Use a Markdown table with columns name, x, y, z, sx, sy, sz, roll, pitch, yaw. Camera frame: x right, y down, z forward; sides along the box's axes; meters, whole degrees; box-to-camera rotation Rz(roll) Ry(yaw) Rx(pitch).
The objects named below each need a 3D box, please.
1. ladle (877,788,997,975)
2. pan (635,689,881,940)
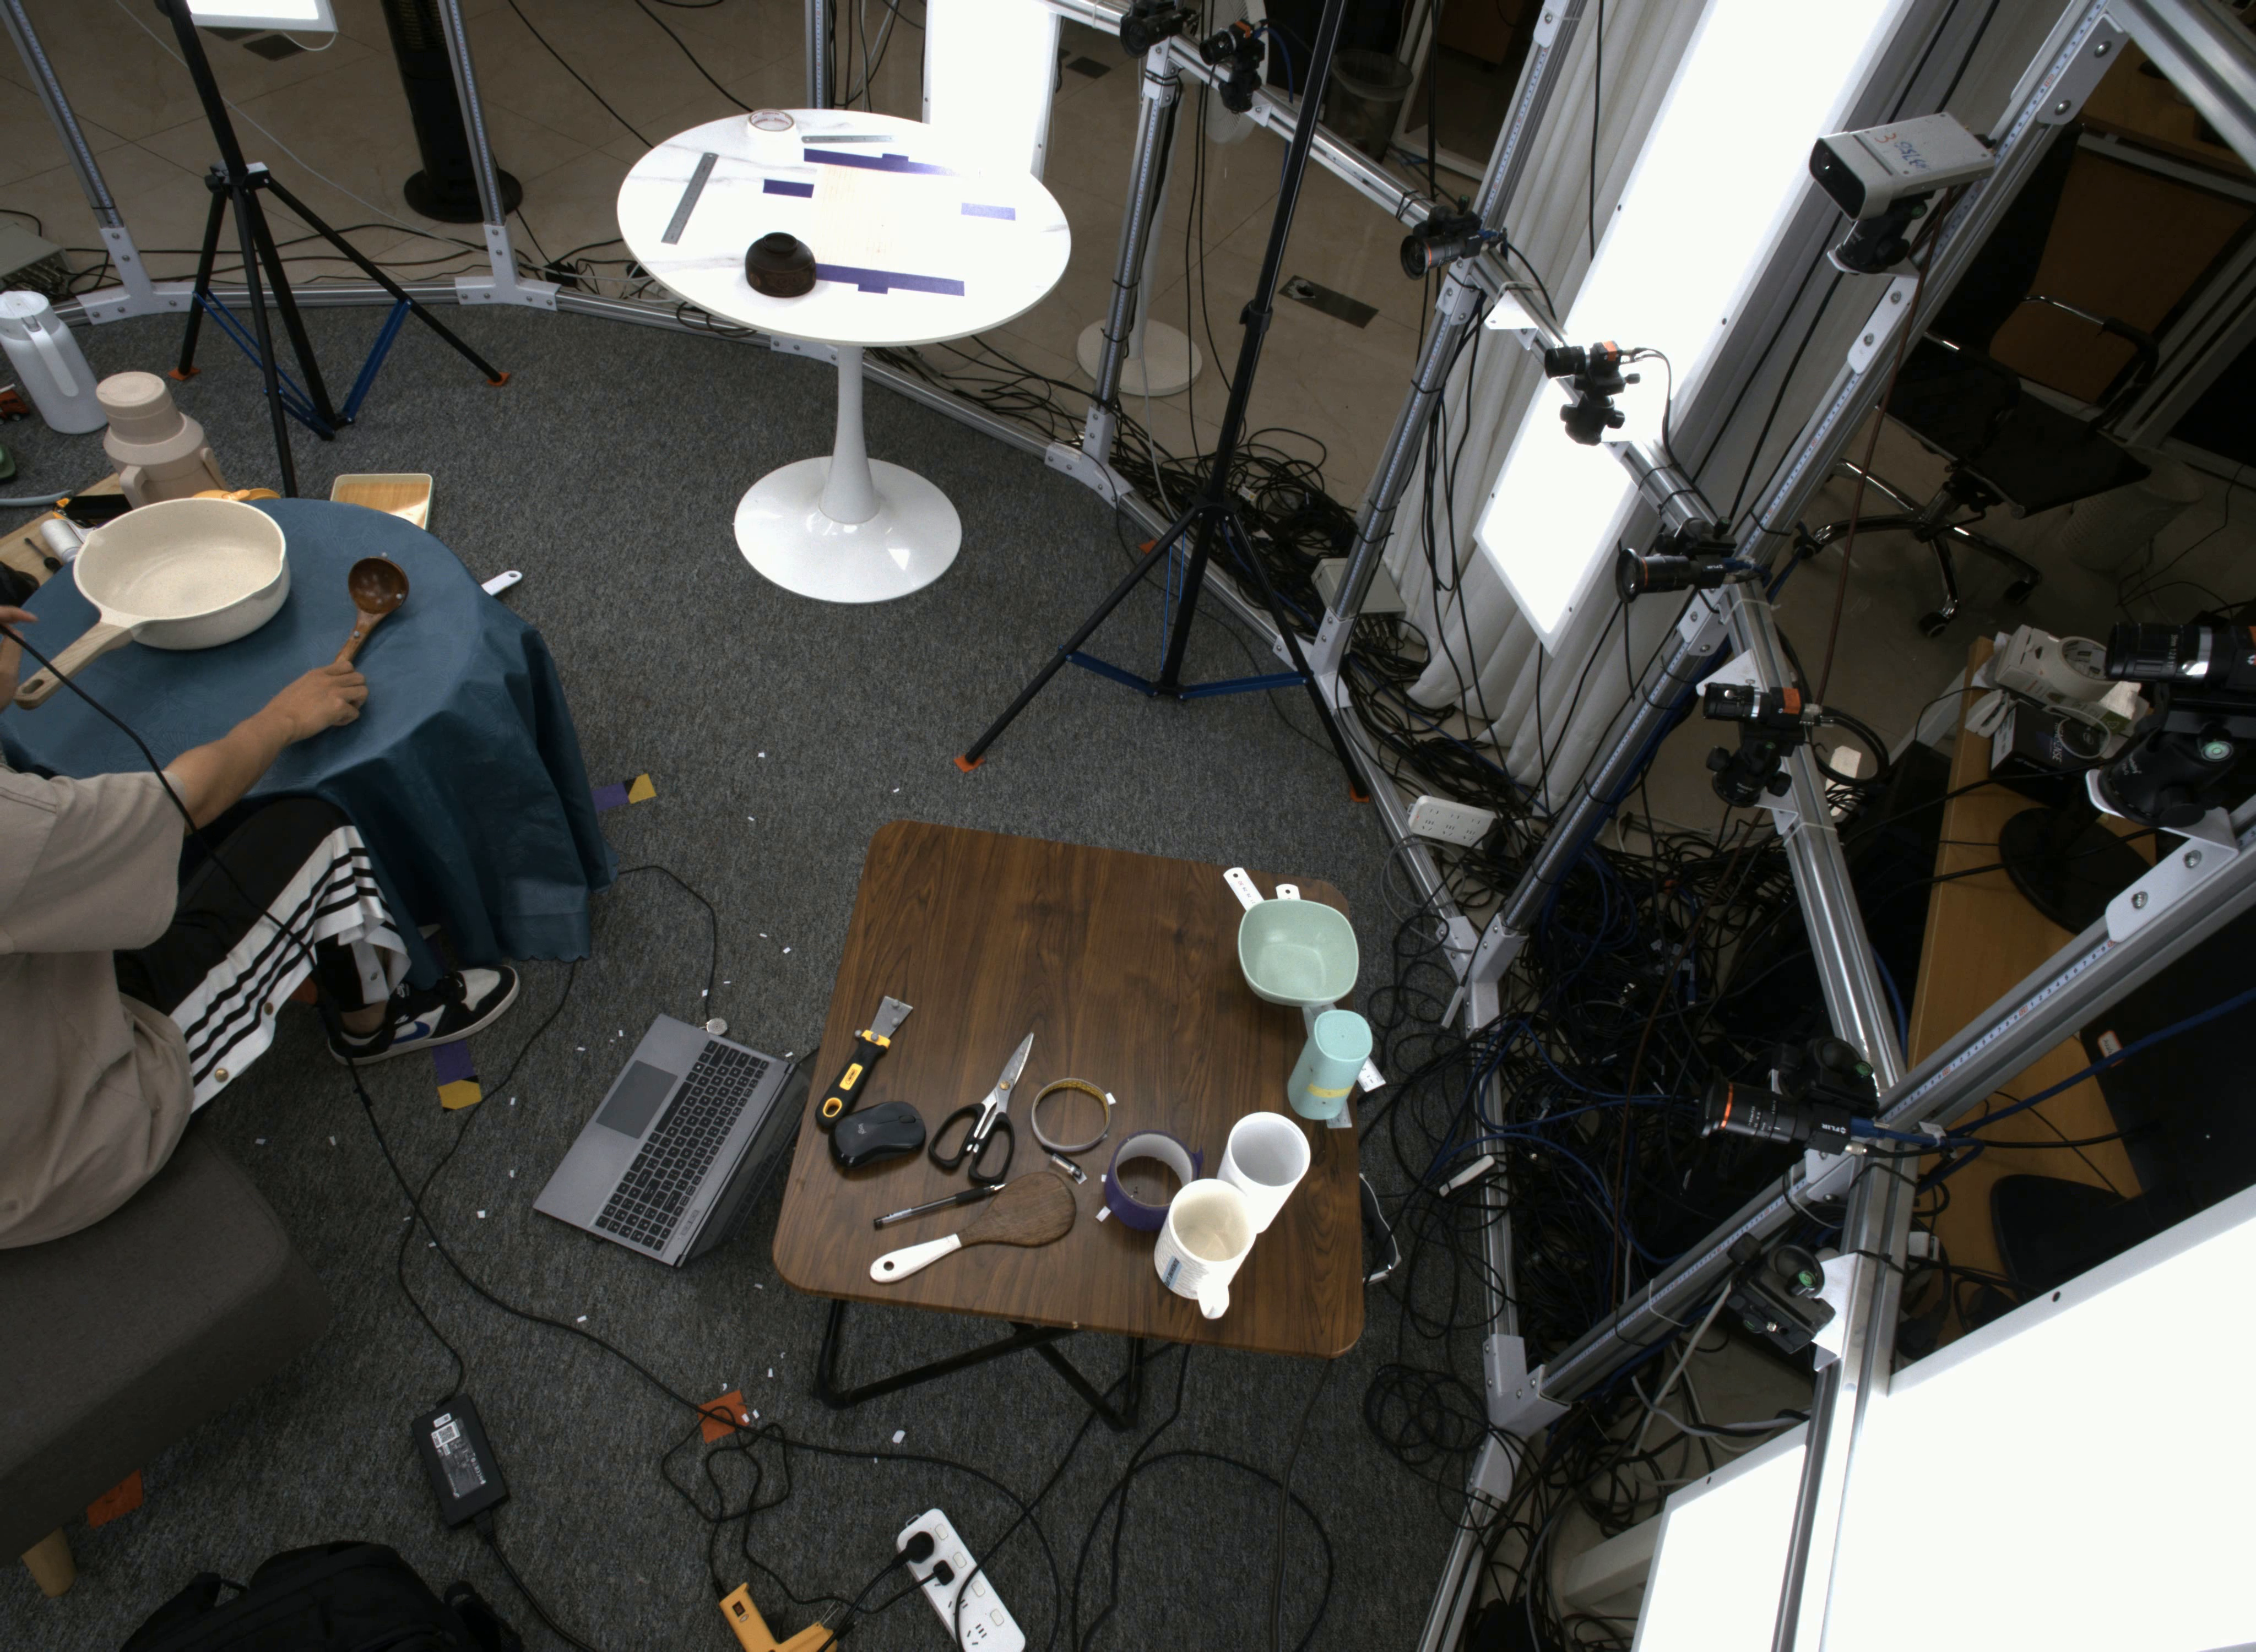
| name | x | y | z | sx | sy | sz | roll | pitch | yaw |
| --- | --- | --- | --- | --- | --- | --- | --- | --- | --- |
| ladle | -0.249 | 0.065 | 1.678 | 0.081 | 0.078 | 0.271 | 23 | 52 | 3 |
| pan | -0.490 | -0.002 | 1.657 | 0.260 | 0.104 | 0.432 | 26 | 53 | 5 |
